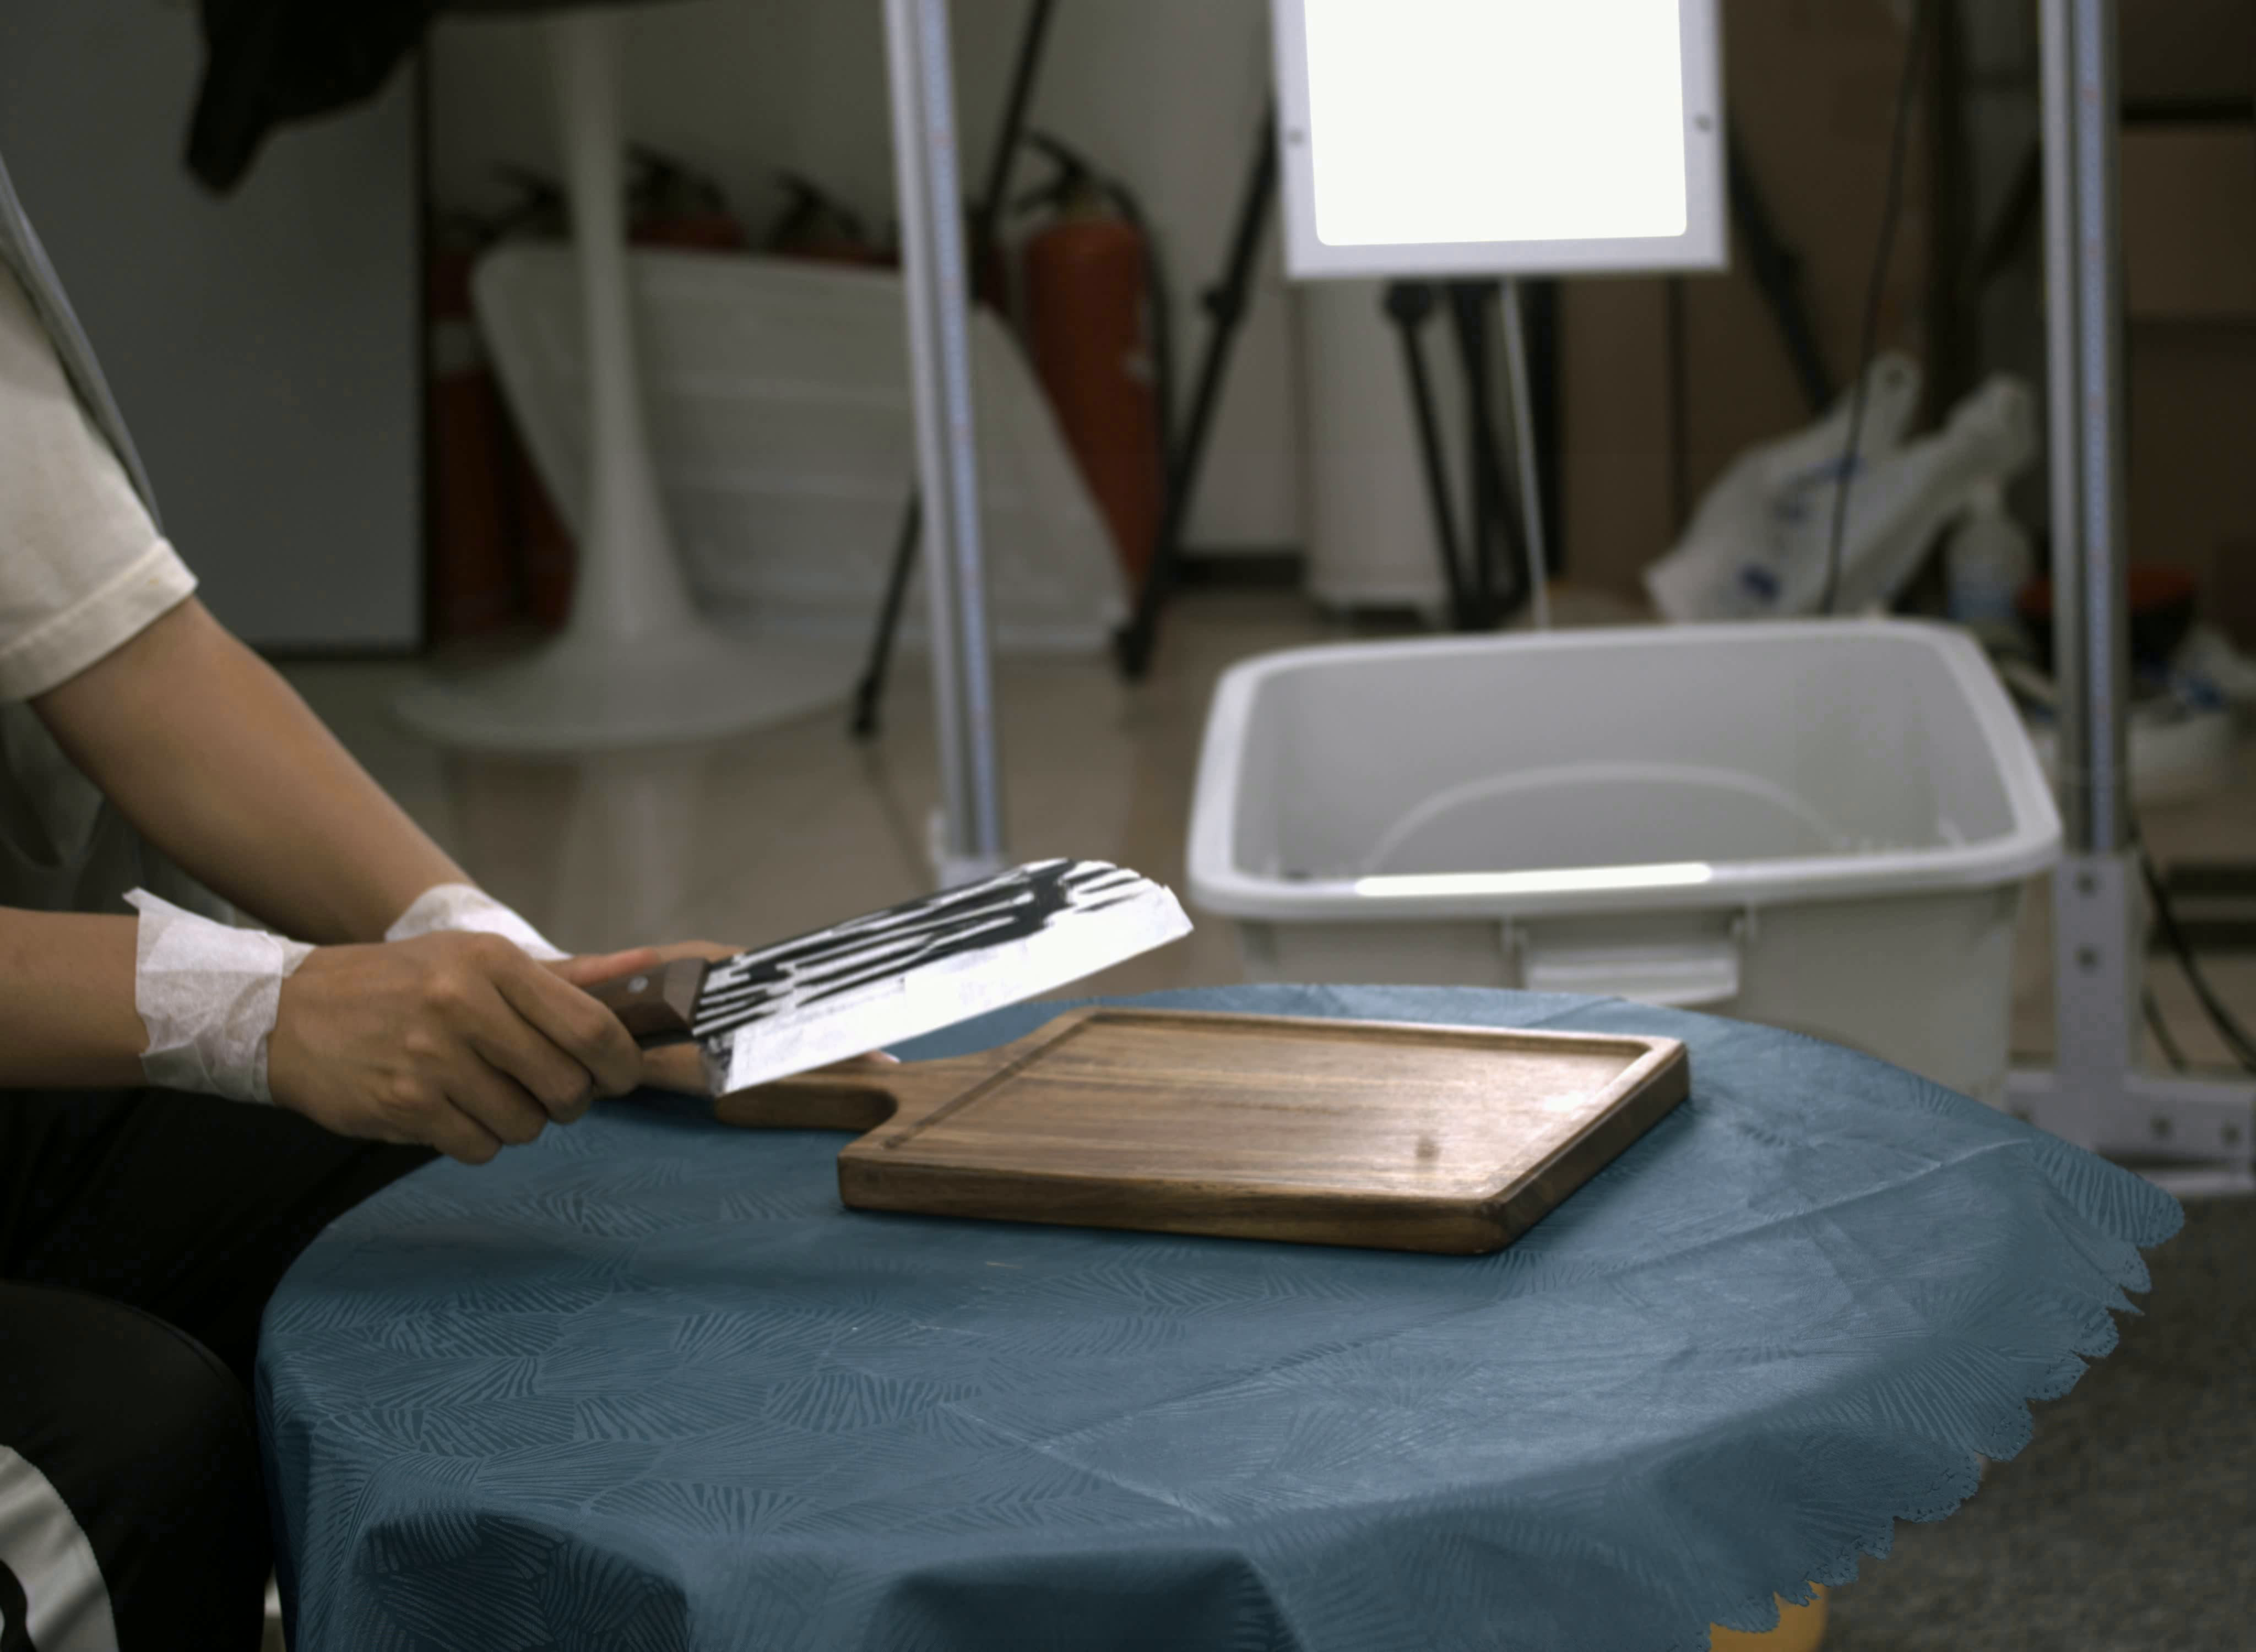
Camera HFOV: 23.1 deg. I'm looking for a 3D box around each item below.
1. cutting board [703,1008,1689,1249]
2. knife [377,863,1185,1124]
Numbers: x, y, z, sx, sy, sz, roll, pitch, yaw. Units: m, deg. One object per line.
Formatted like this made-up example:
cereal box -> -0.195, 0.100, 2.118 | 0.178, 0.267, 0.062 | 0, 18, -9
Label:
cutting board -> 0.005, 0.102, 1.953 | 0.358, 0.023, 0.197 | 1, 15, 28
knife -> -0.120, 0.062, 1.852 | 0.303, 0.024, 0.068 | -17, 39, 17
